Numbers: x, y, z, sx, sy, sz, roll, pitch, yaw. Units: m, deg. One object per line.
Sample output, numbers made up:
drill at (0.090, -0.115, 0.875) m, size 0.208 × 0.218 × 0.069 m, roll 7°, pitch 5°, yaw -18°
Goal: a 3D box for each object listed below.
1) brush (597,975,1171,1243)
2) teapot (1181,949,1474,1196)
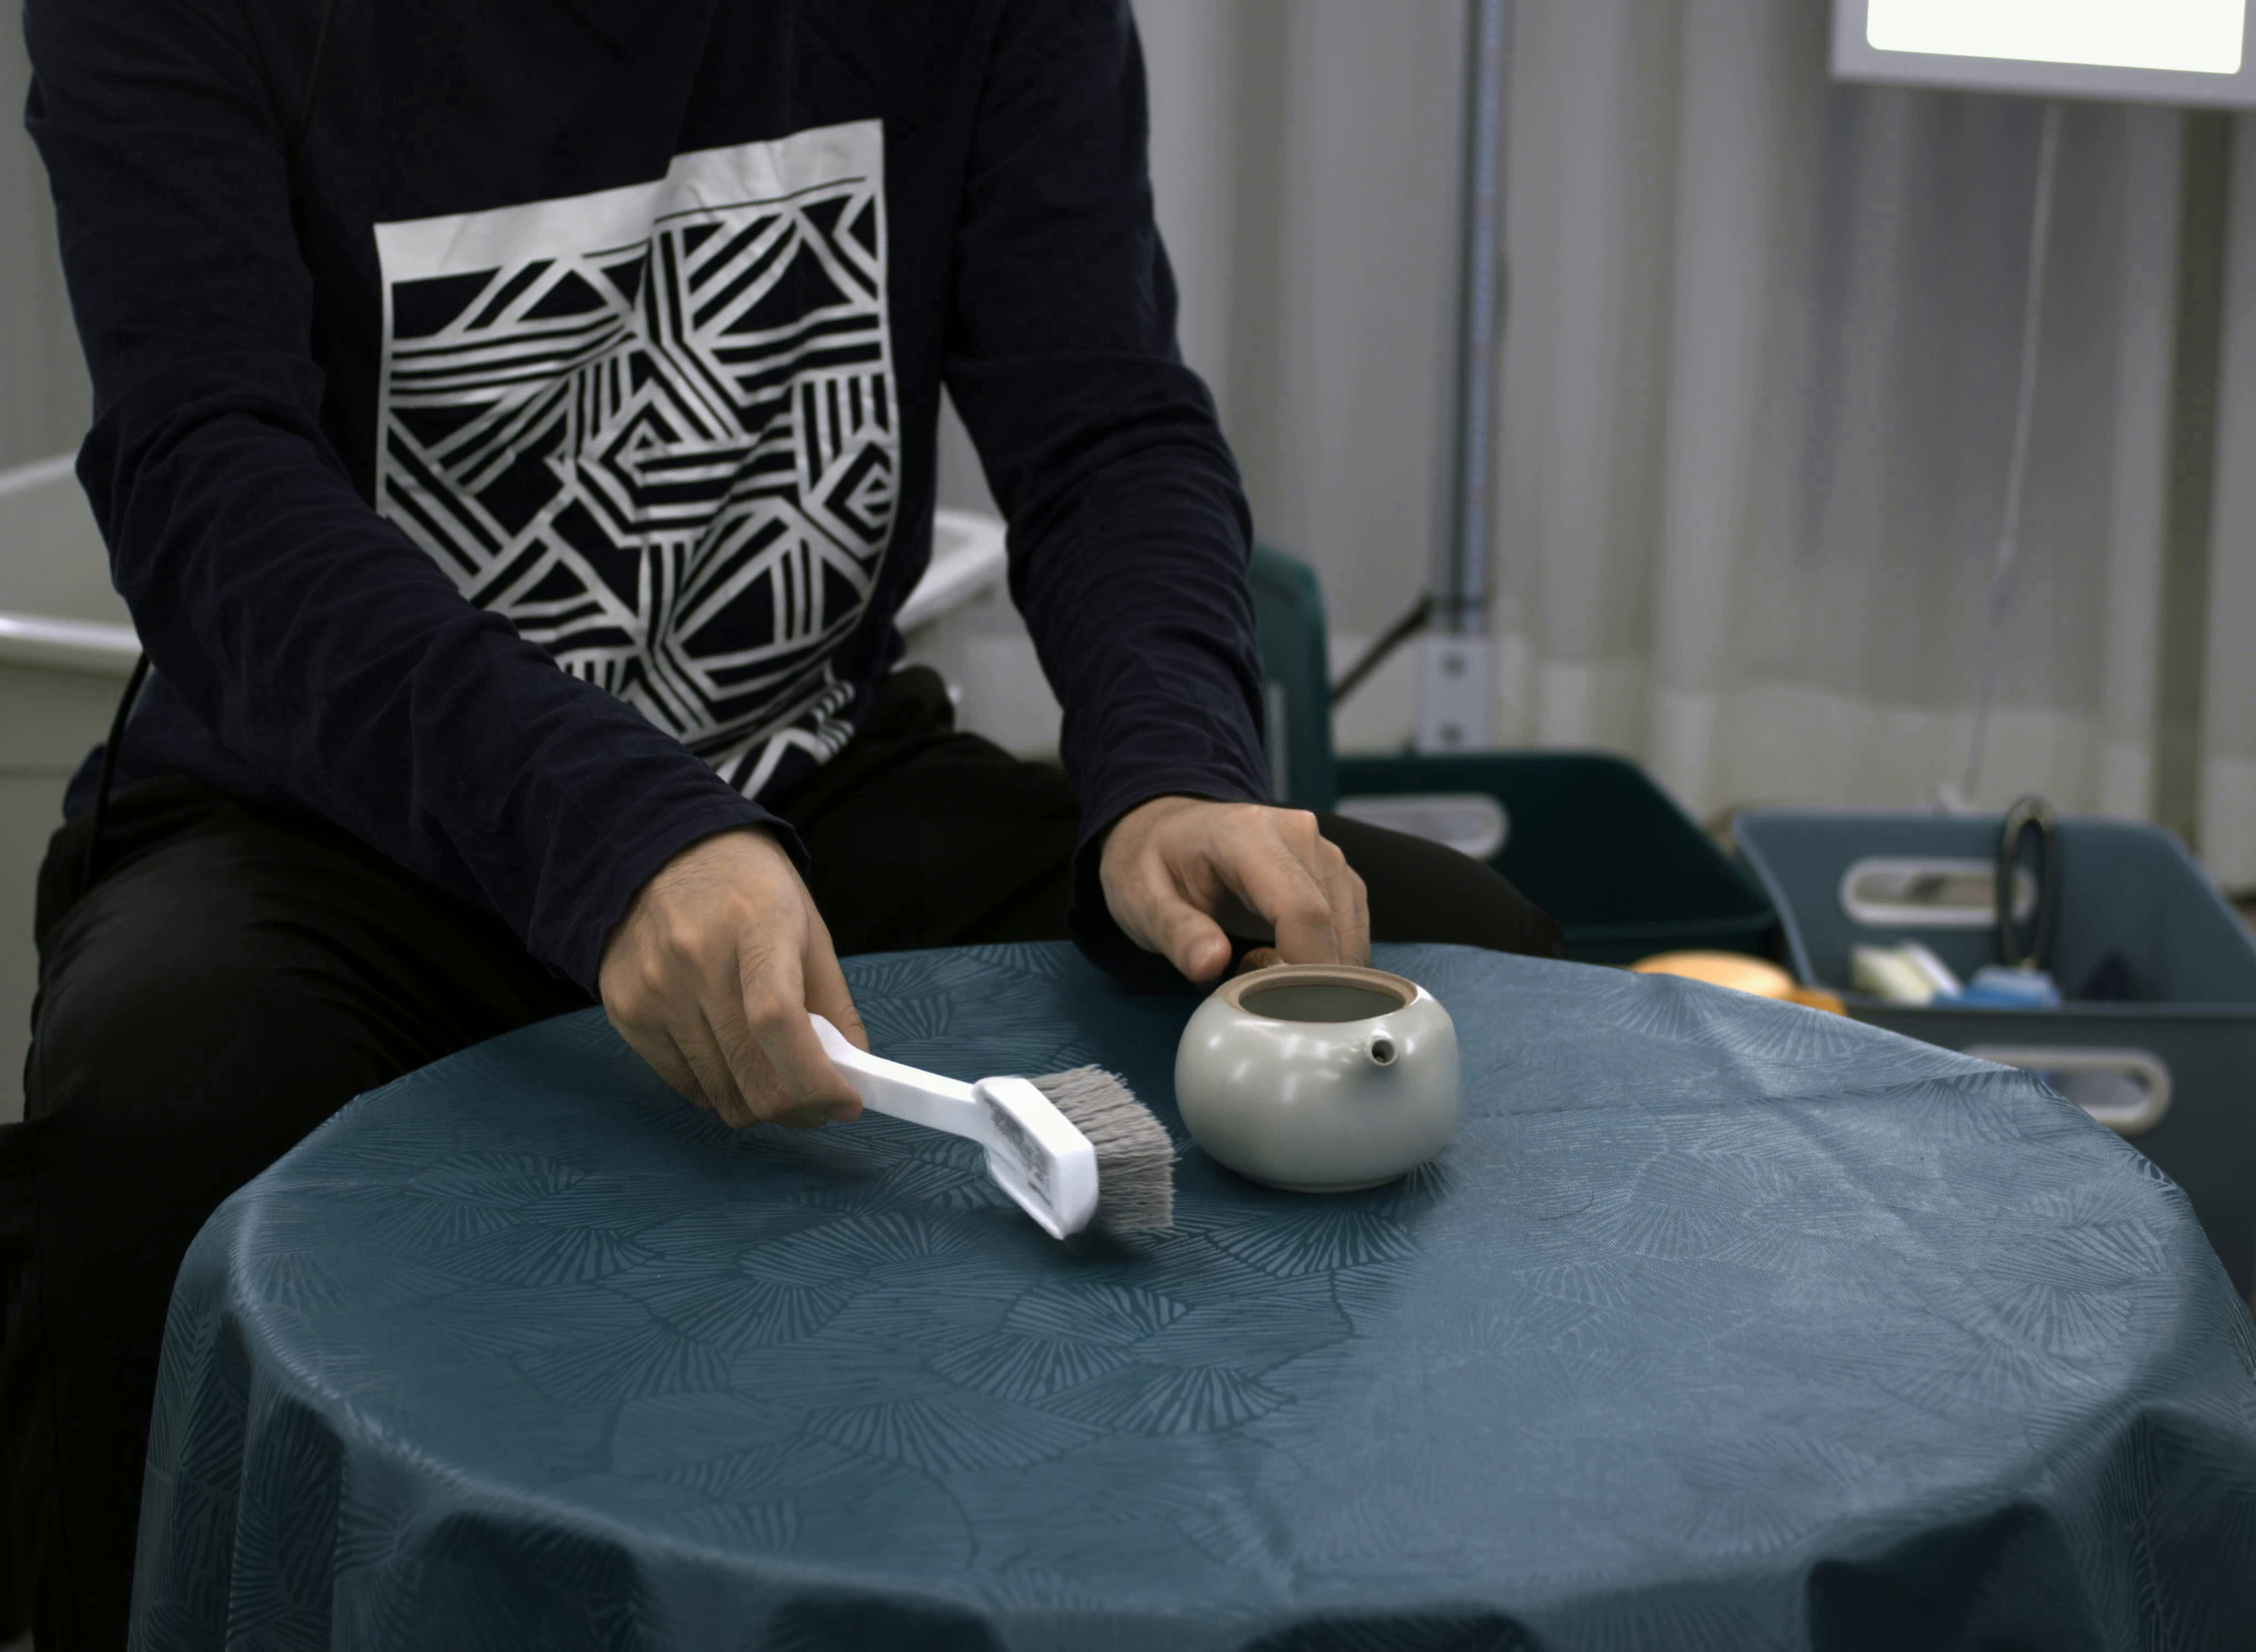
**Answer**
brush at (-0.075, 0.079, 1.634) m, size 0.050 × 0.035 × 0.240 m, roll -20°, pitch 26°, yaw -39°
teapot at (0.059, 0.077, 1.652) m, size 0.092 × 0.060 × 0.126 m, roll -9°, pitch 18°, yaw -20°
